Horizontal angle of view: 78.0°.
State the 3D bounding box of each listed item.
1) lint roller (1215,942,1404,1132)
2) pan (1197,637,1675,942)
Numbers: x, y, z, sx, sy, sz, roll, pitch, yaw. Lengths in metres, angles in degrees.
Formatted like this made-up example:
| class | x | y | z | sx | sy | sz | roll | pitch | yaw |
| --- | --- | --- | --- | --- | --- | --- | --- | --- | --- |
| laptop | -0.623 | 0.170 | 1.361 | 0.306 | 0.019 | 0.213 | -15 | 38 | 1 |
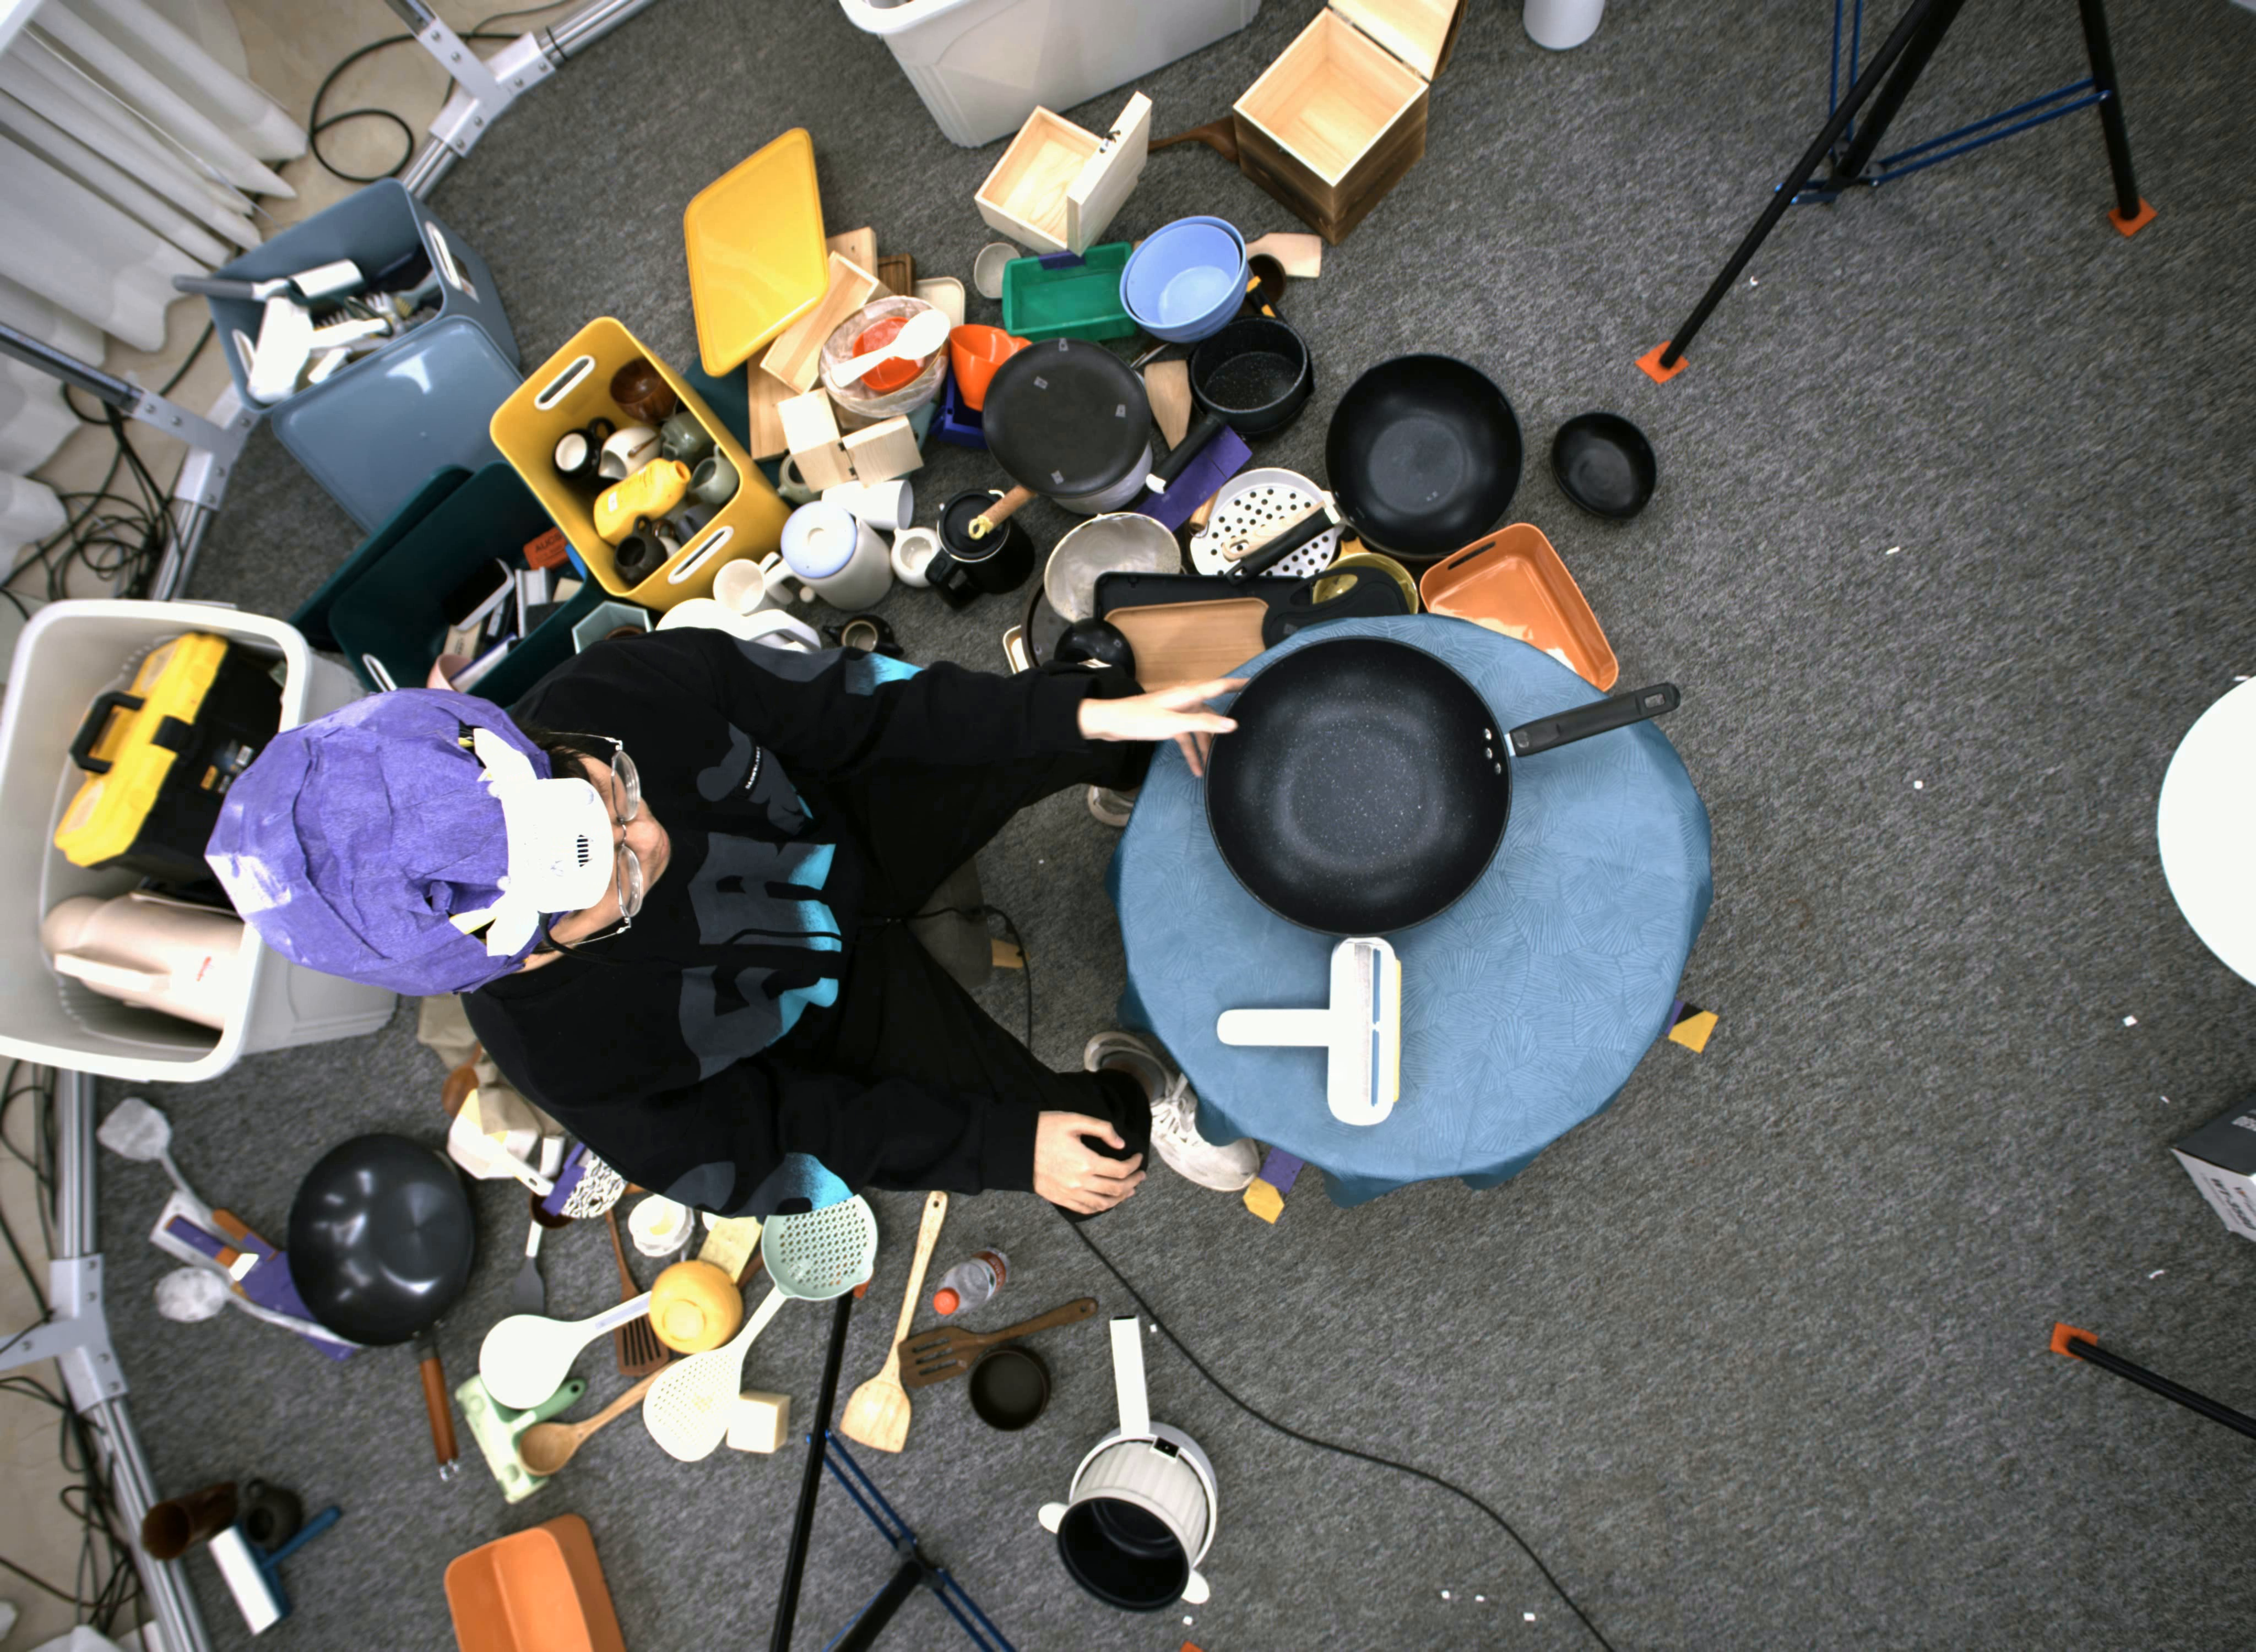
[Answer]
| class | x | y | z | sx | sy | sz | roll | pitch | yaw |
| --- | --- | --- | --- | --- | --- | --- | --- | --- | --- |
| lint roller | 0.182 | 0.210 | 1.430 | 0.193 | 0.074 | 0.191 | 4 | 82 | 12 |
| pan | 0.307 | -0.059 | 1.401 | 0.479 | 0.111 | 0.309 | -16 | 86 | 9 |
